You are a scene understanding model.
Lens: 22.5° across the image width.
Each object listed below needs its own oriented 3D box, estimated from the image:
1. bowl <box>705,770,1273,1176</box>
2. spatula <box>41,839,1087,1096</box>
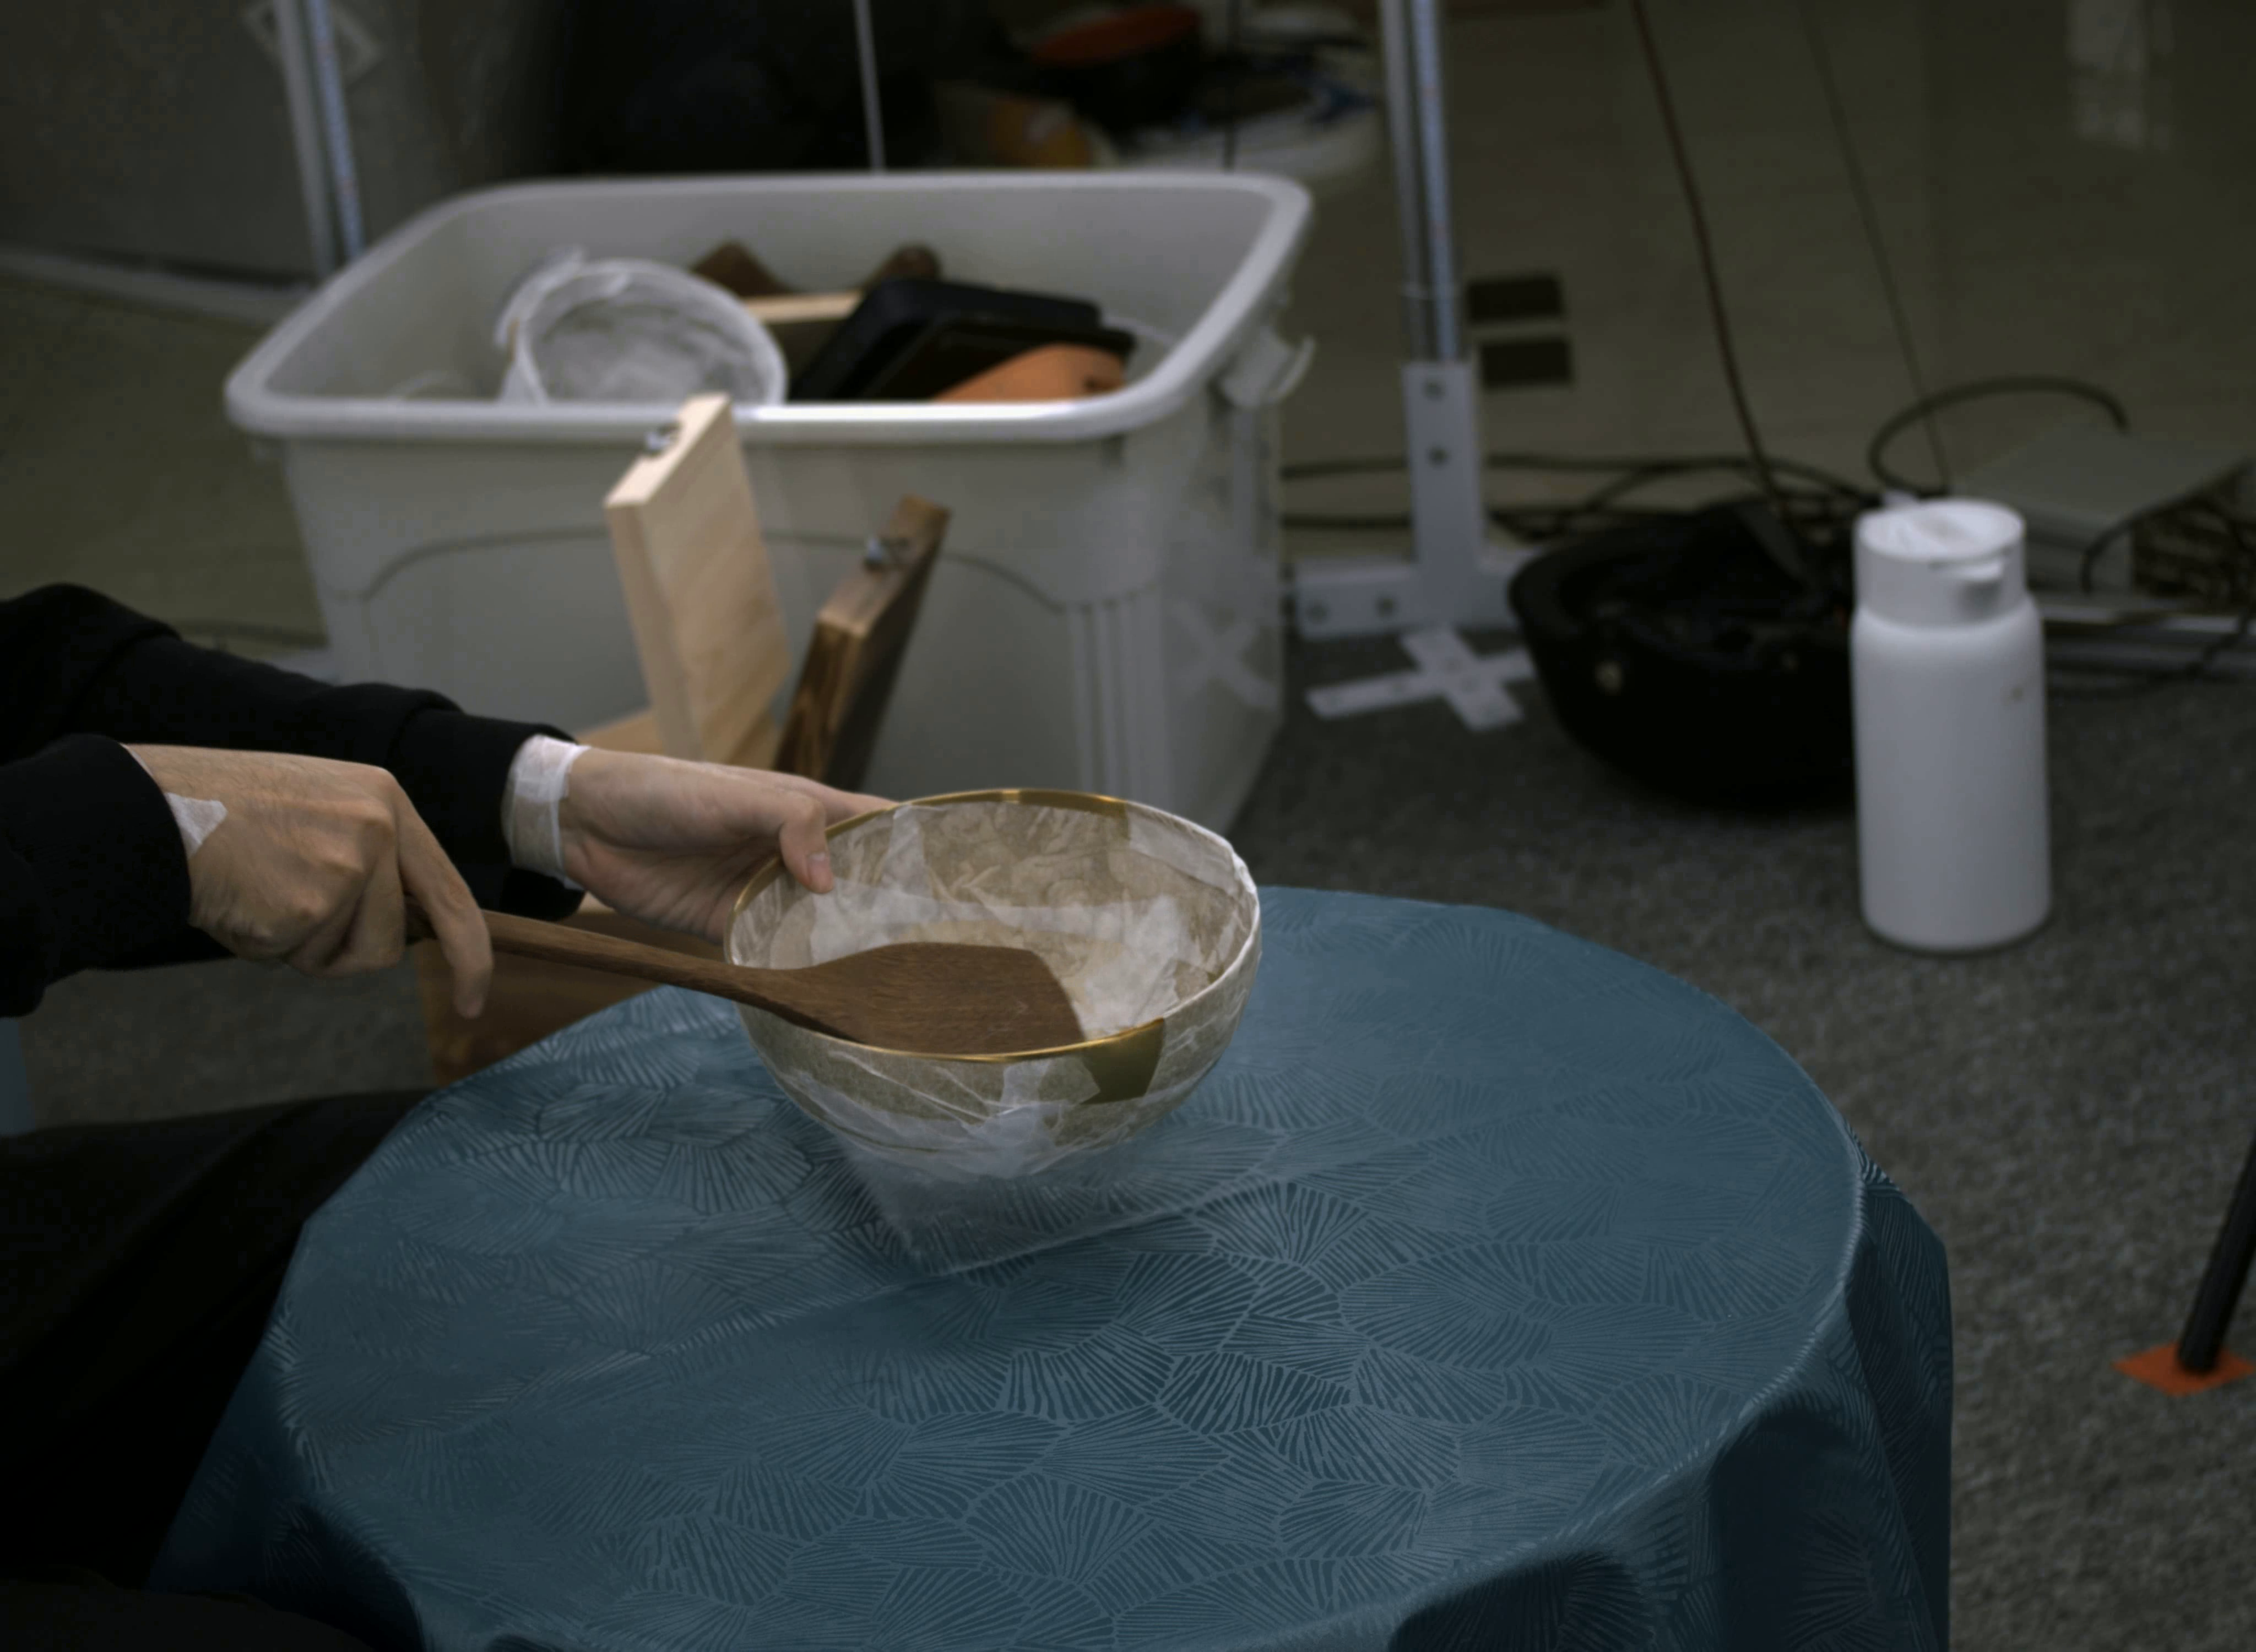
[{"bbox_3d":[-0.051,0.069,2.140,0.214,0.096,0.211,-1,31,1],"label":"bowl"},{"bbox_3d":[-0.198,0.045,2.037,0.386,0.016,0.094,11,29,-17],"label":"spatula"}]
